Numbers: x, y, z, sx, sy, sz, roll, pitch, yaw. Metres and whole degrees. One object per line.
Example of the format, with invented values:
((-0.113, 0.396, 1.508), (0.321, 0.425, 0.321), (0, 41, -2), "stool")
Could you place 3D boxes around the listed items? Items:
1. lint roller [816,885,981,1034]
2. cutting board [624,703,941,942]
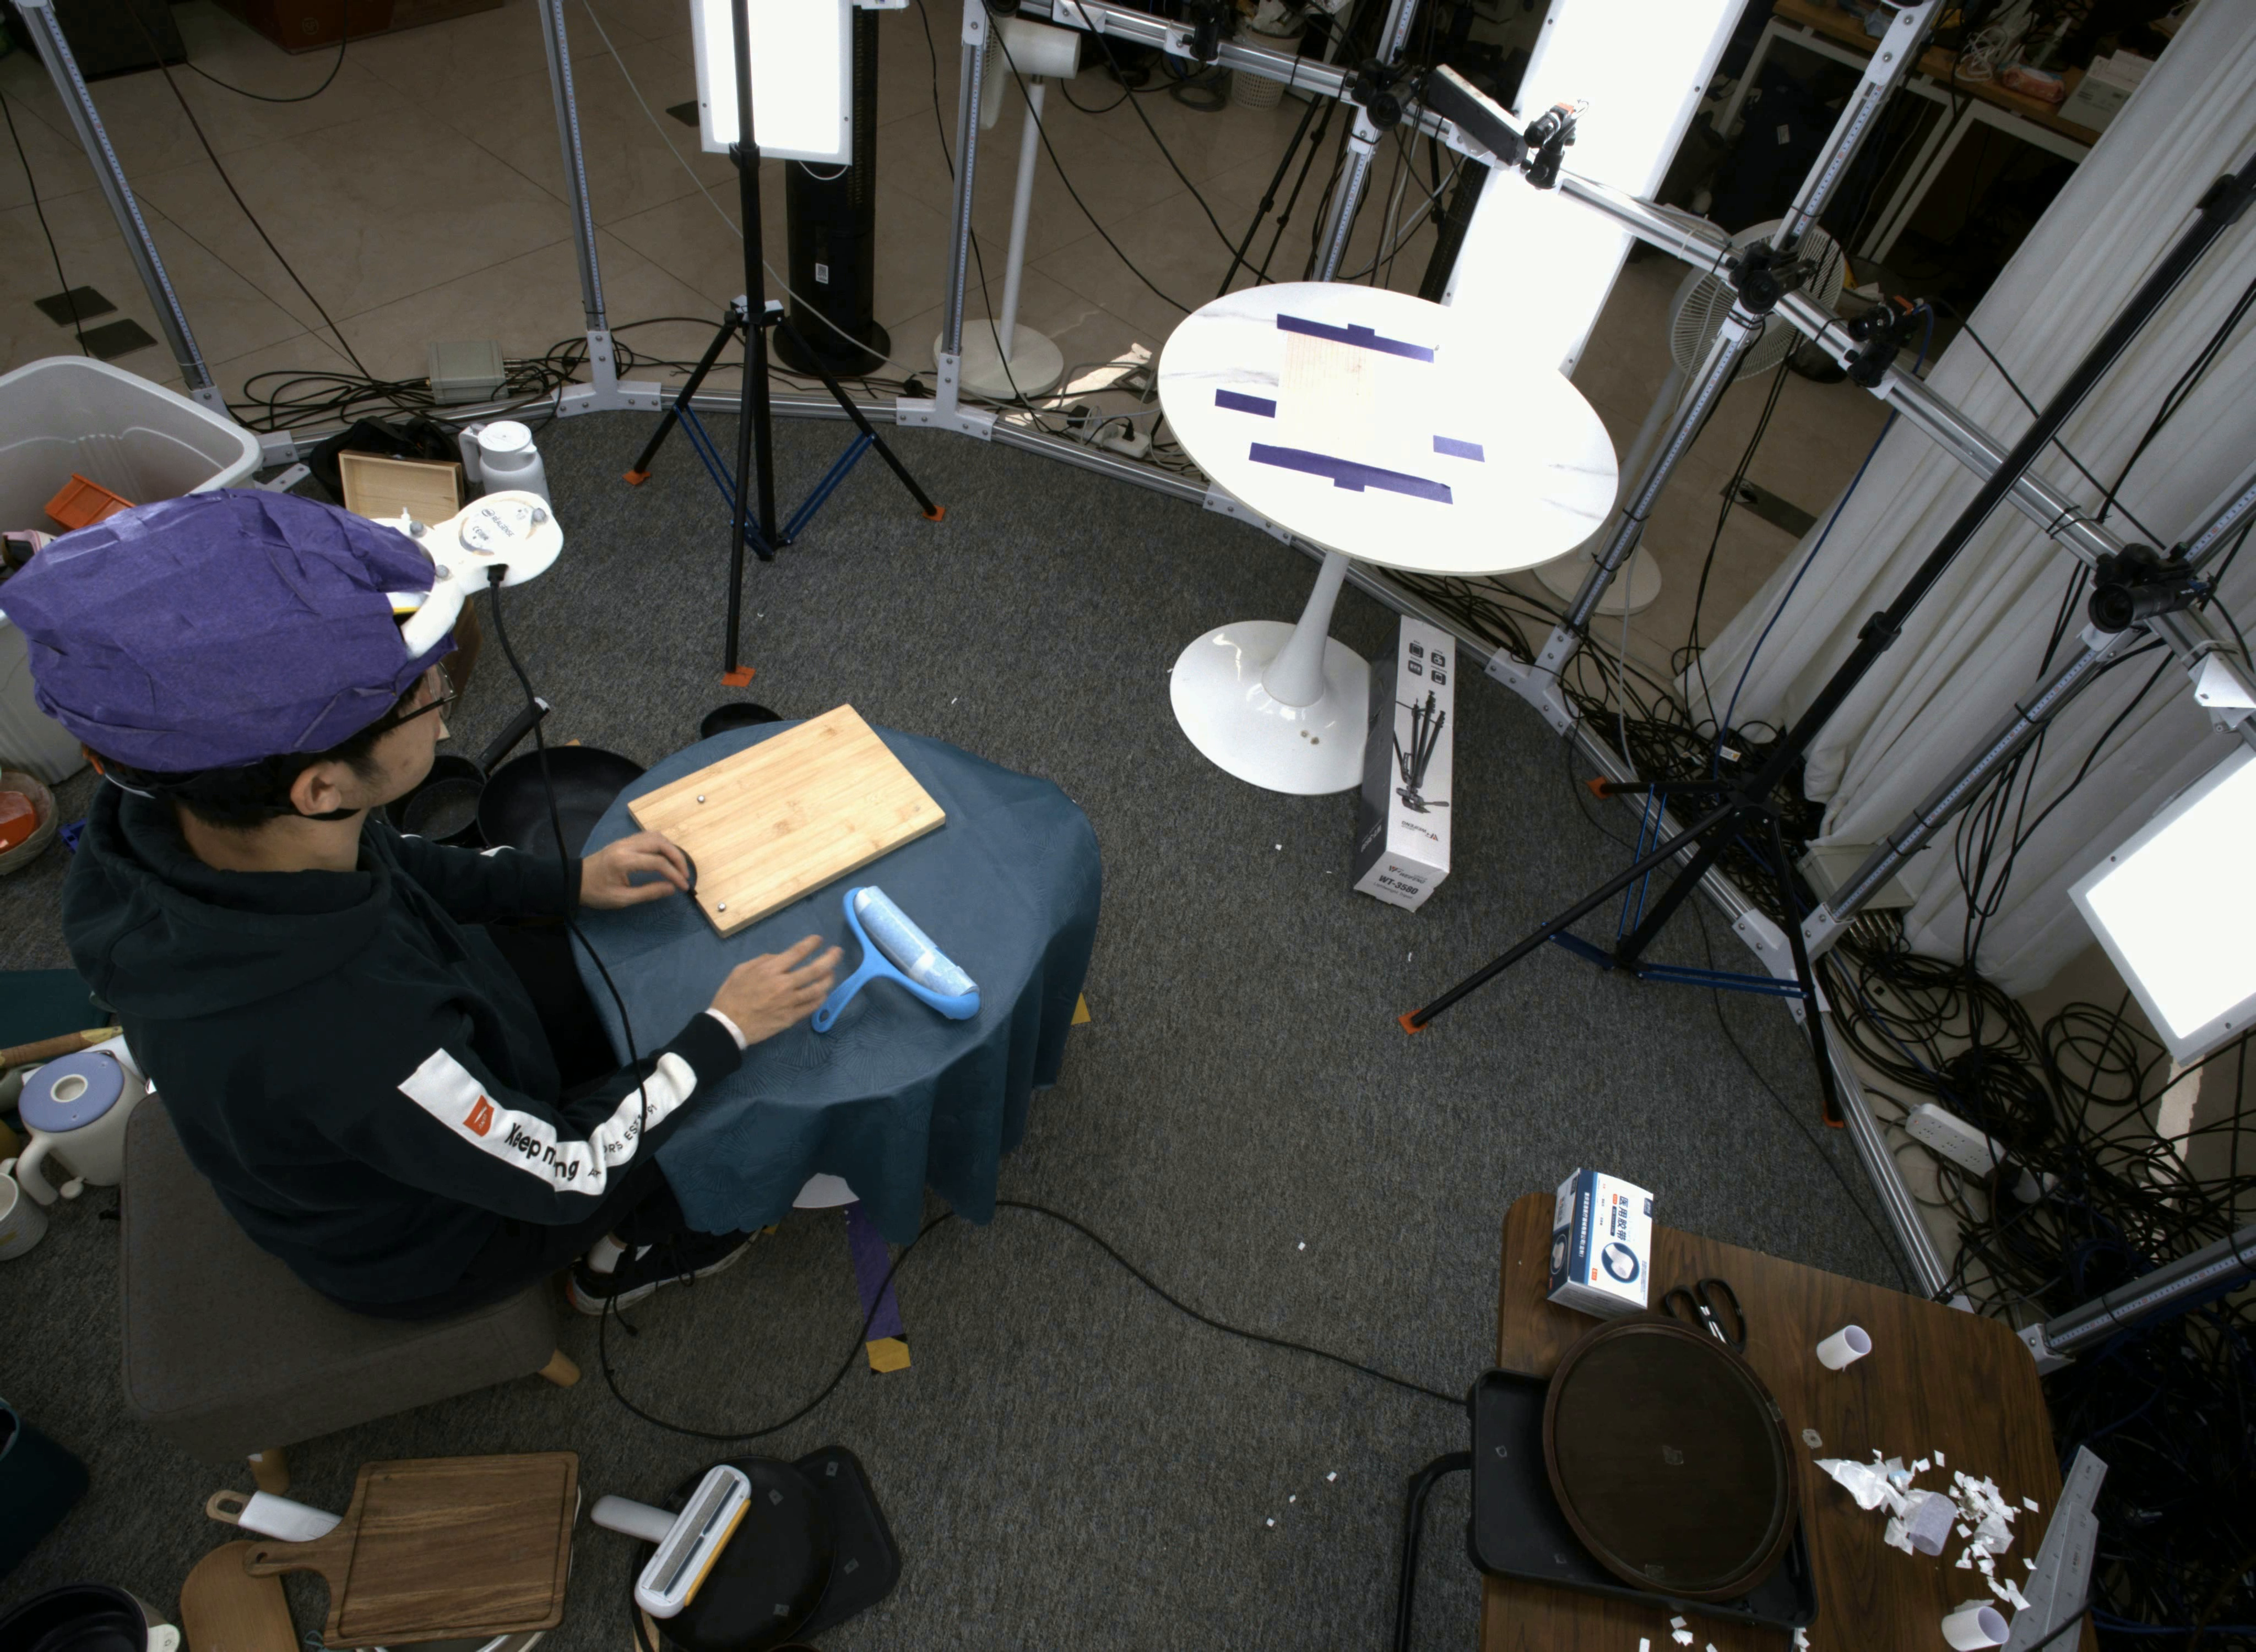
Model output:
((-0.307, 0.183, 1.589), (0.224, 0.069, 0.180), (40, 54, 14), "lint roller")
((-0.455, -0.016, 1.723), (0.350, 0.024, 0.245), (-31, 67, -32), "cutting board")
